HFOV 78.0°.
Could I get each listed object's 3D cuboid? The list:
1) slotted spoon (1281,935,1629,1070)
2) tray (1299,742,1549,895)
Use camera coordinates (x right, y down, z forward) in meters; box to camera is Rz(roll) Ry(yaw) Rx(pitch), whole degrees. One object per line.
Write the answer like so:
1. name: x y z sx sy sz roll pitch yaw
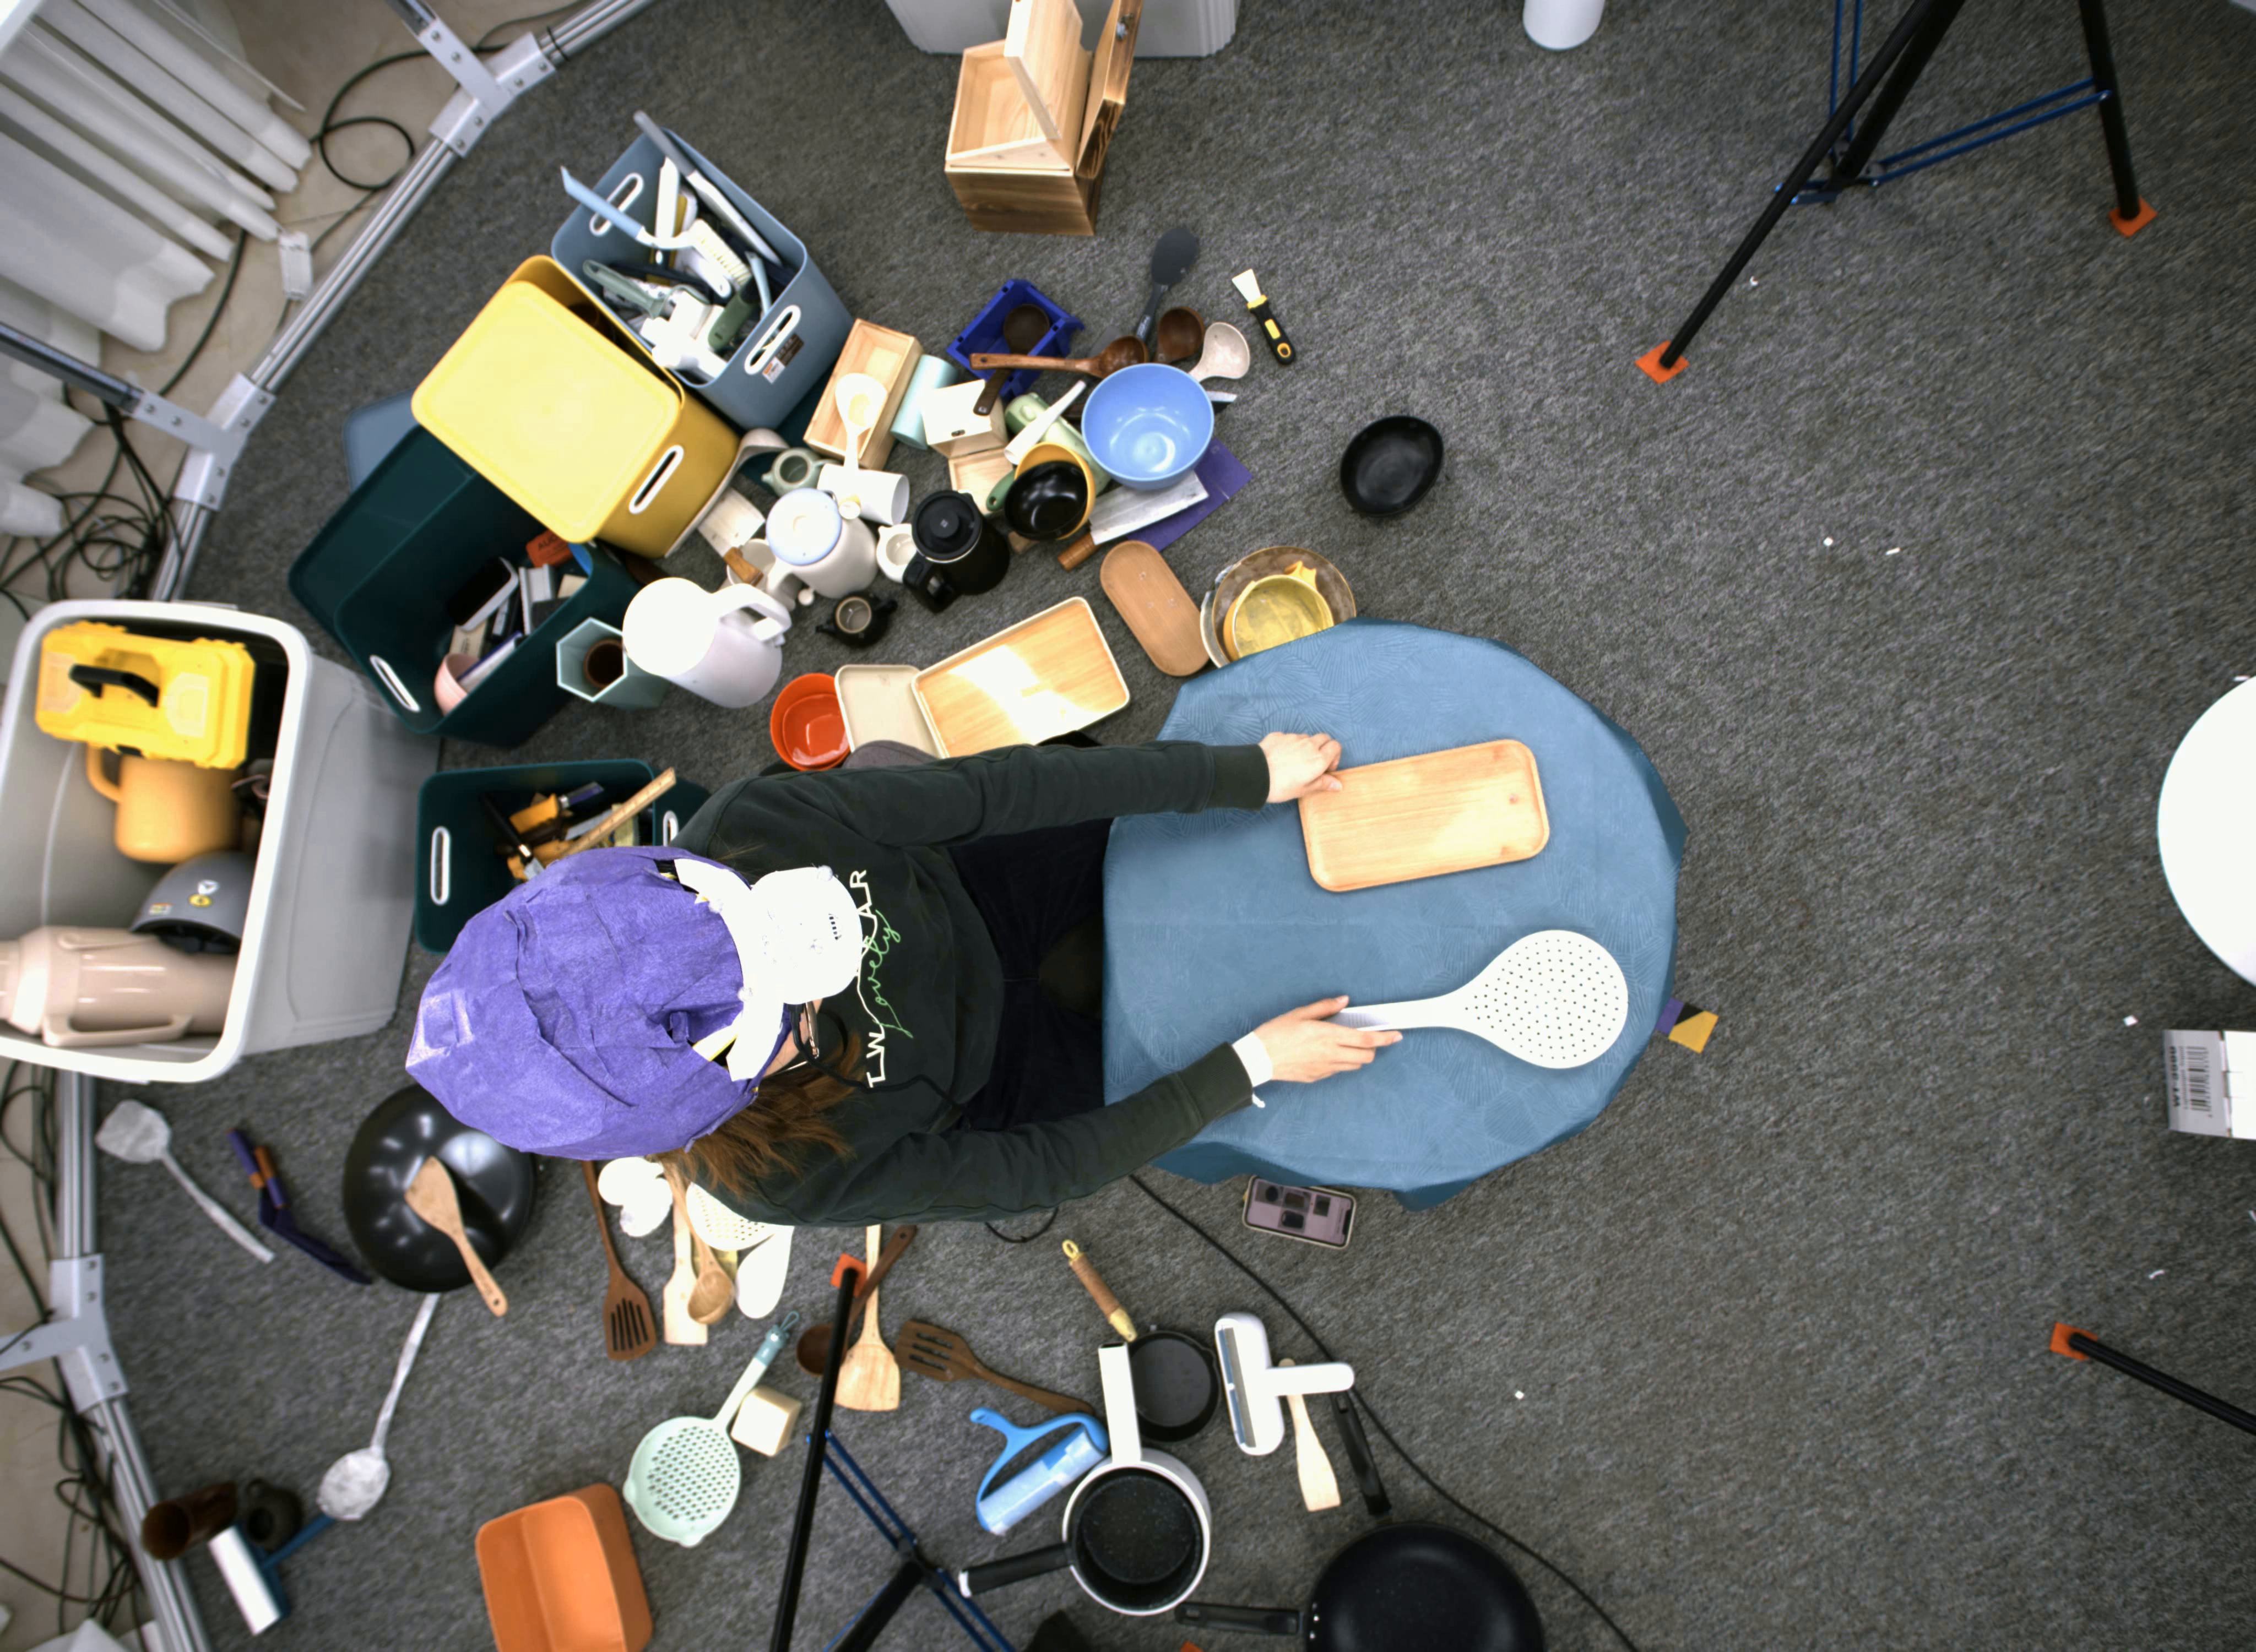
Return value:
1. slotted spoon: 0.332 0.190 1.422 0.351 0.046 0.135 -7 82 11
2. tray: 0.311 -0.008 1.454 0.252 0.023 0.129 -11 82 10
